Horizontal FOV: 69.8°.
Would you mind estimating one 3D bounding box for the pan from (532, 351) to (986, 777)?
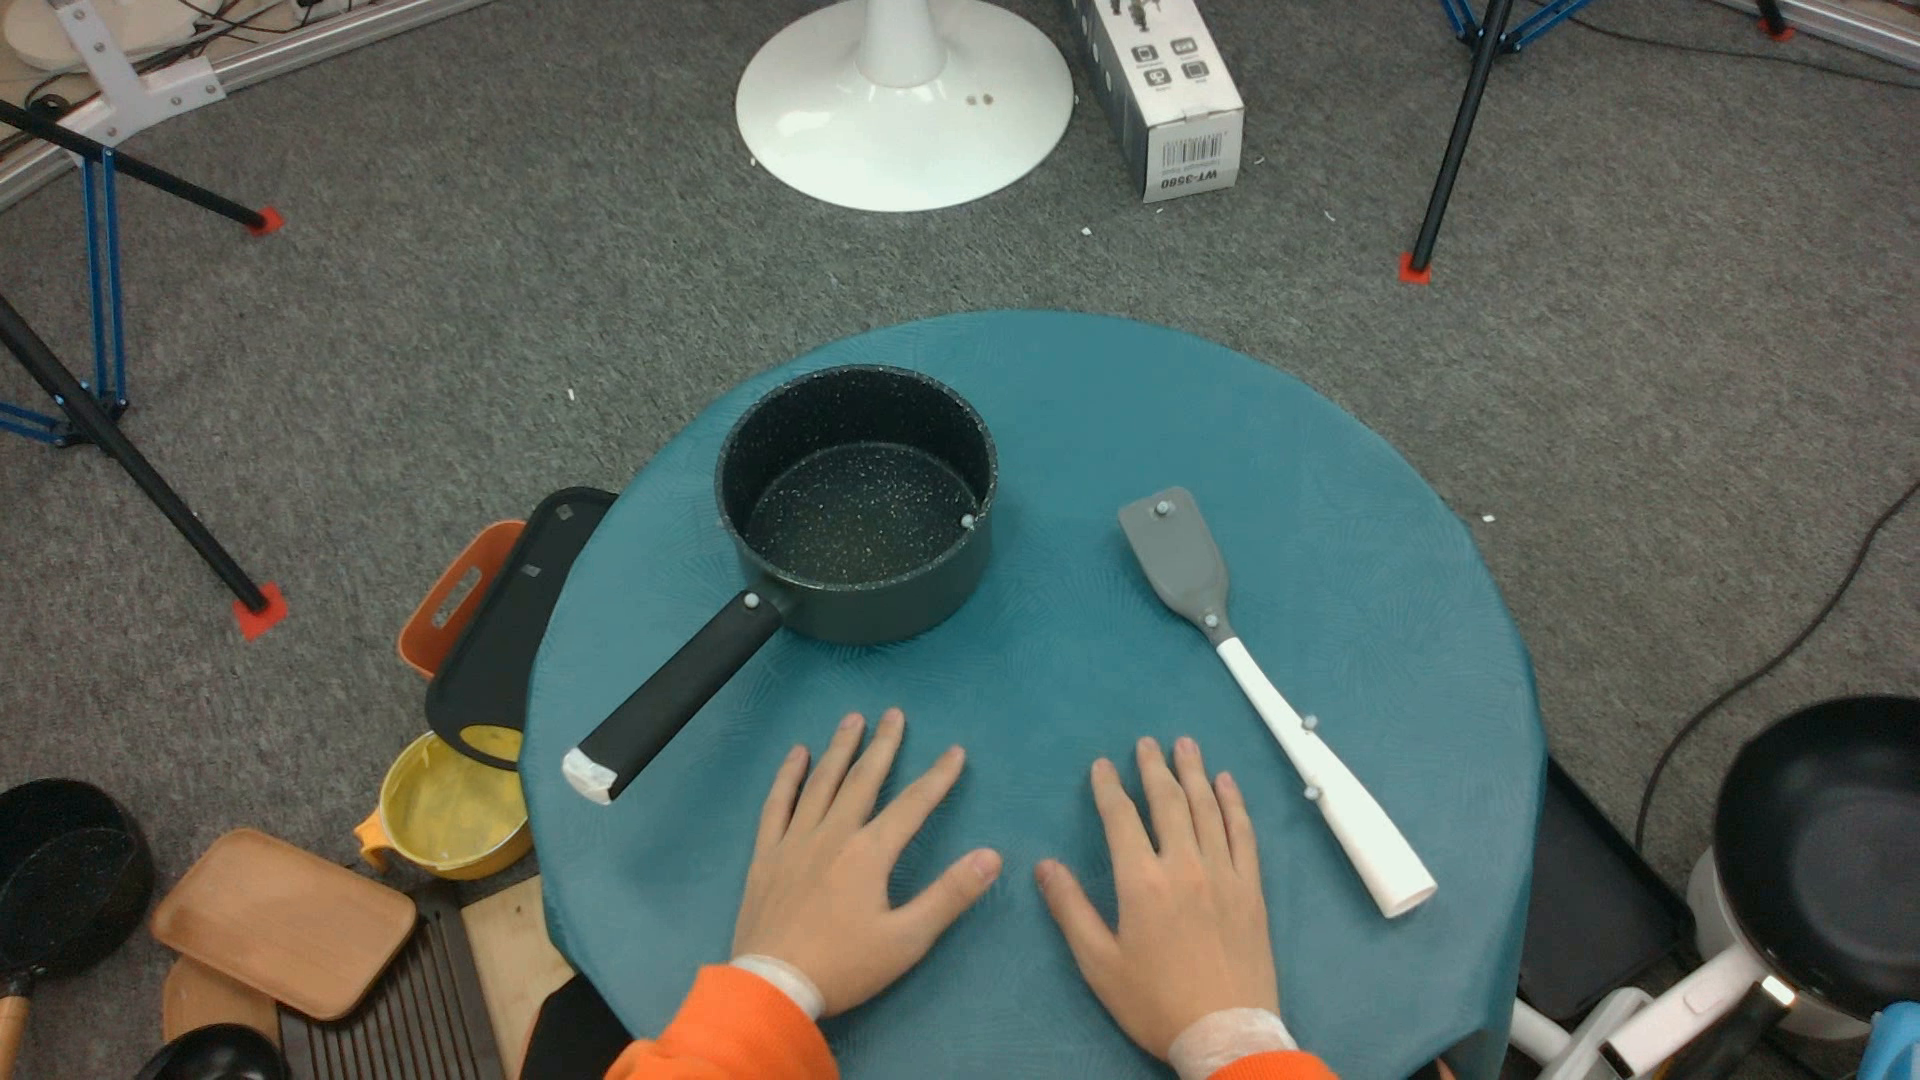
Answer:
[{"bbox_3d":[-0.115,0.024,0.813,0.172,0.086,0.330,29,59,20],"label":"pan"}]

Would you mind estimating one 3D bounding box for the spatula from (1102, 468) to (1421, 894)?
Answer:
[{"bbox_3d":[0.171,0.074,0.807,0.059,0.032,0.288,-24,59,-9],"label":"spatula"}]
